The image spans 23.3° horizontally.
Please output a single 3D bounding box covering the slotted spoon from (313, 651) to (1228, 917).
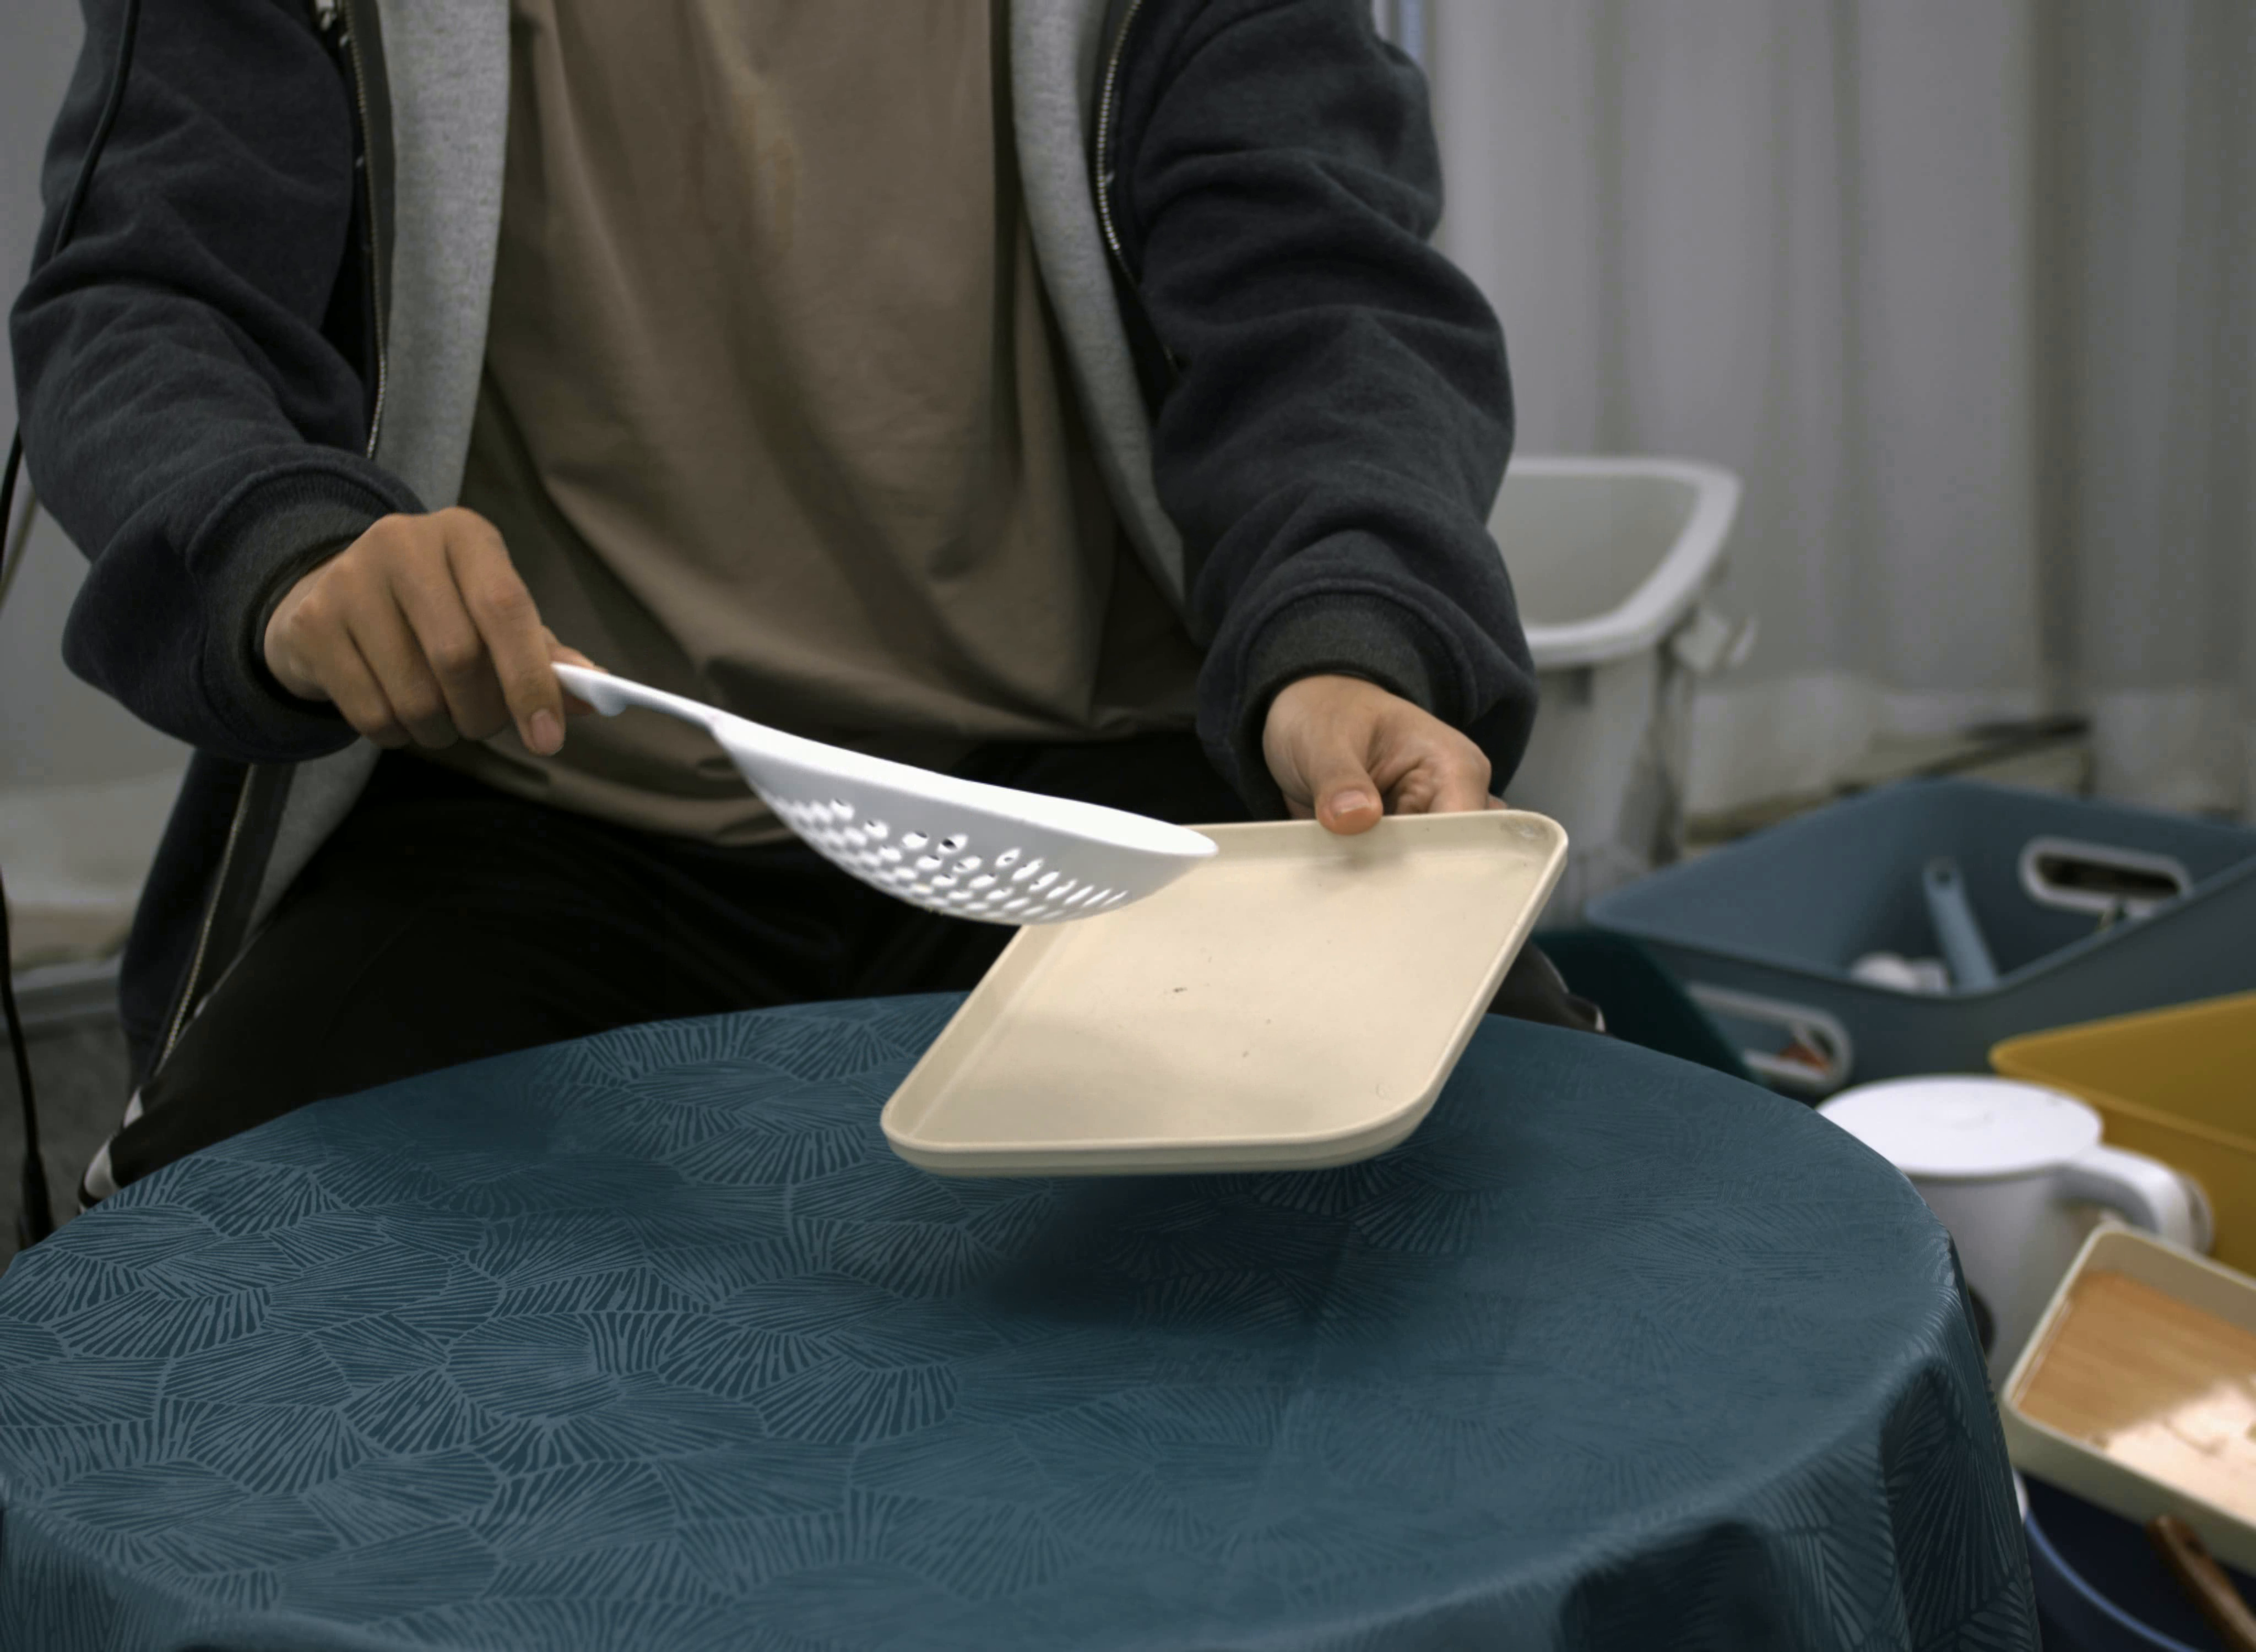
[{"bbox_3d":[-0.123,-0.024,1.673,0.350,0.050,0.135,20,6,40],"label":"slotted spoon"}]

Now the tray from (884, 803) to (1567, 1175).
[{"bbox_3d":[0.035,0.049,1.678,0.171,0.017,0.241,-4,22,20],"label":"tray"}]
